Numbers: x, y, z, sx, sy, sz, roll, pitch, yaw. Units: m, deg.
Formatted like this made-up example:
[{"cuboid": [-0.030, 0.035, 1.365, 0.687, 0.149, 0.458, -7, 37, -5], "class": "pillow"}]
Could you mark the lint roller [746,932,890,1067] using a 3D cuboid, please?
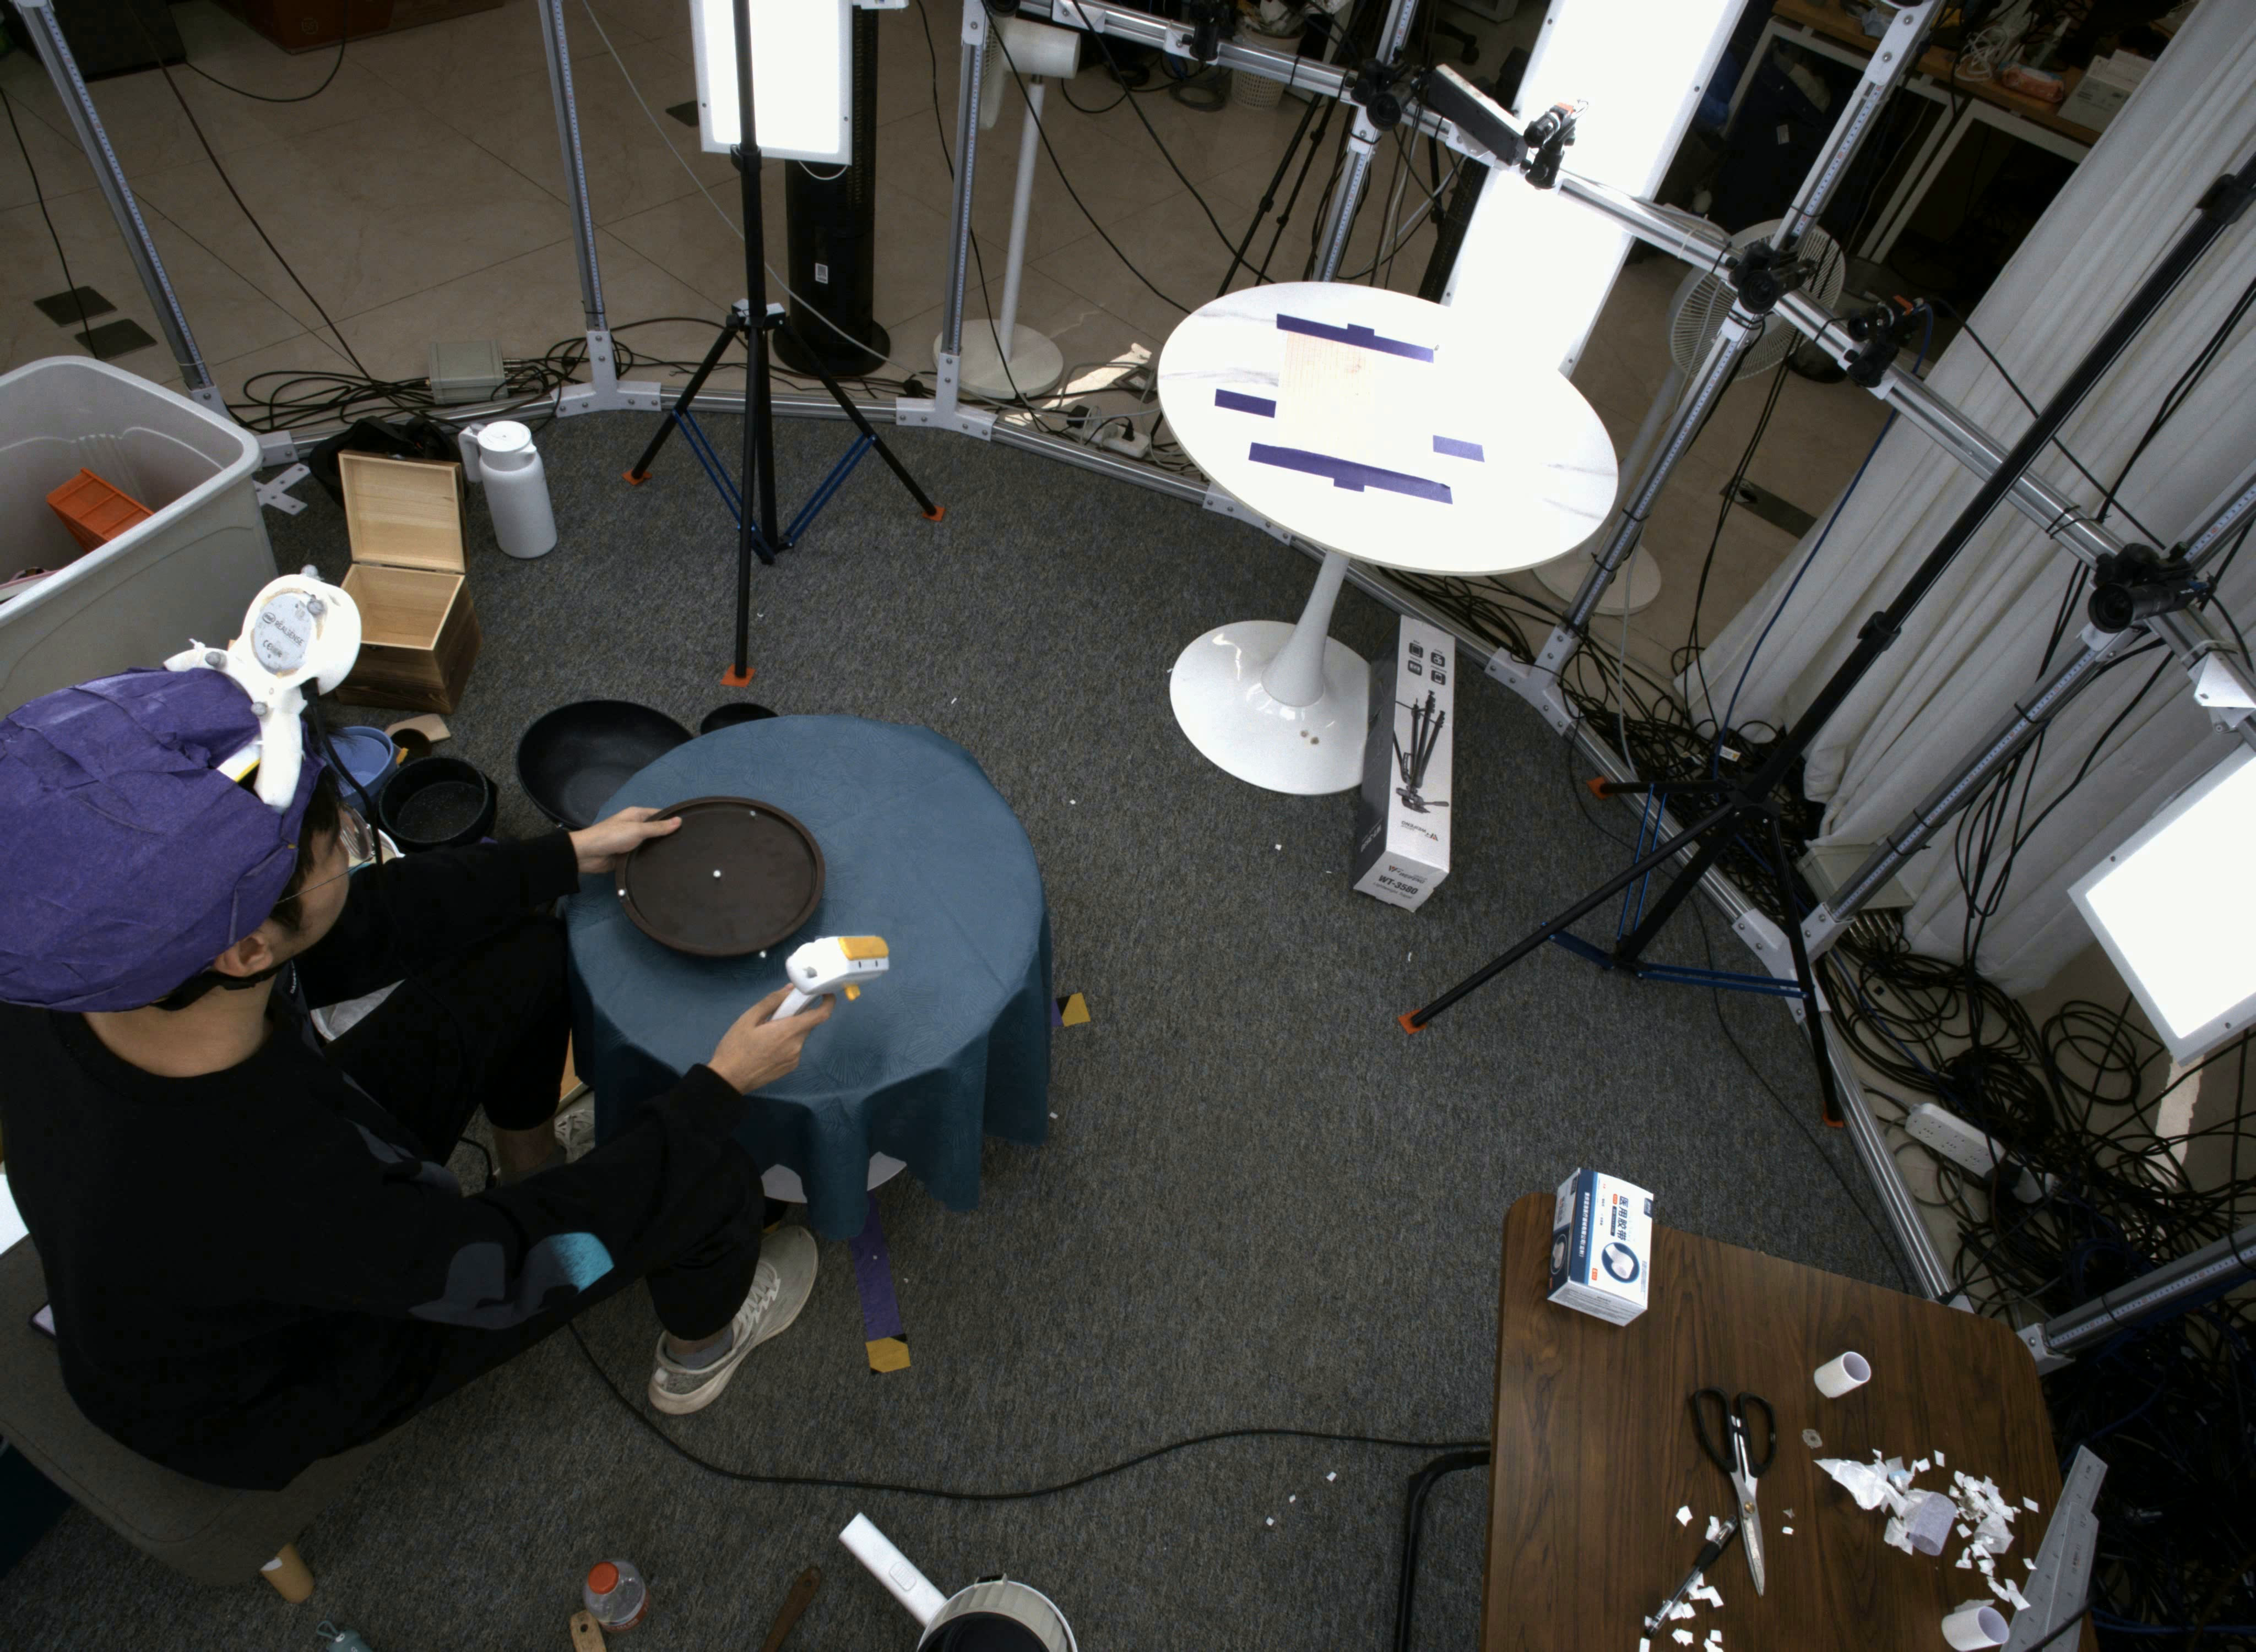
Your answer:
[{"cuboid": [-0.366, 0.192, 1.460, 0.191, 0.193, 0.074, -37, 87, 8], "class": "lint roller"}]

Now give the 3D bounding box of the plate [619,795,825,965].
[{"cuboid": [-0.506, 0.064, 1.612, 0.255, 0.029, 0.250, 10, 51, -10], "class": "plate"}]
